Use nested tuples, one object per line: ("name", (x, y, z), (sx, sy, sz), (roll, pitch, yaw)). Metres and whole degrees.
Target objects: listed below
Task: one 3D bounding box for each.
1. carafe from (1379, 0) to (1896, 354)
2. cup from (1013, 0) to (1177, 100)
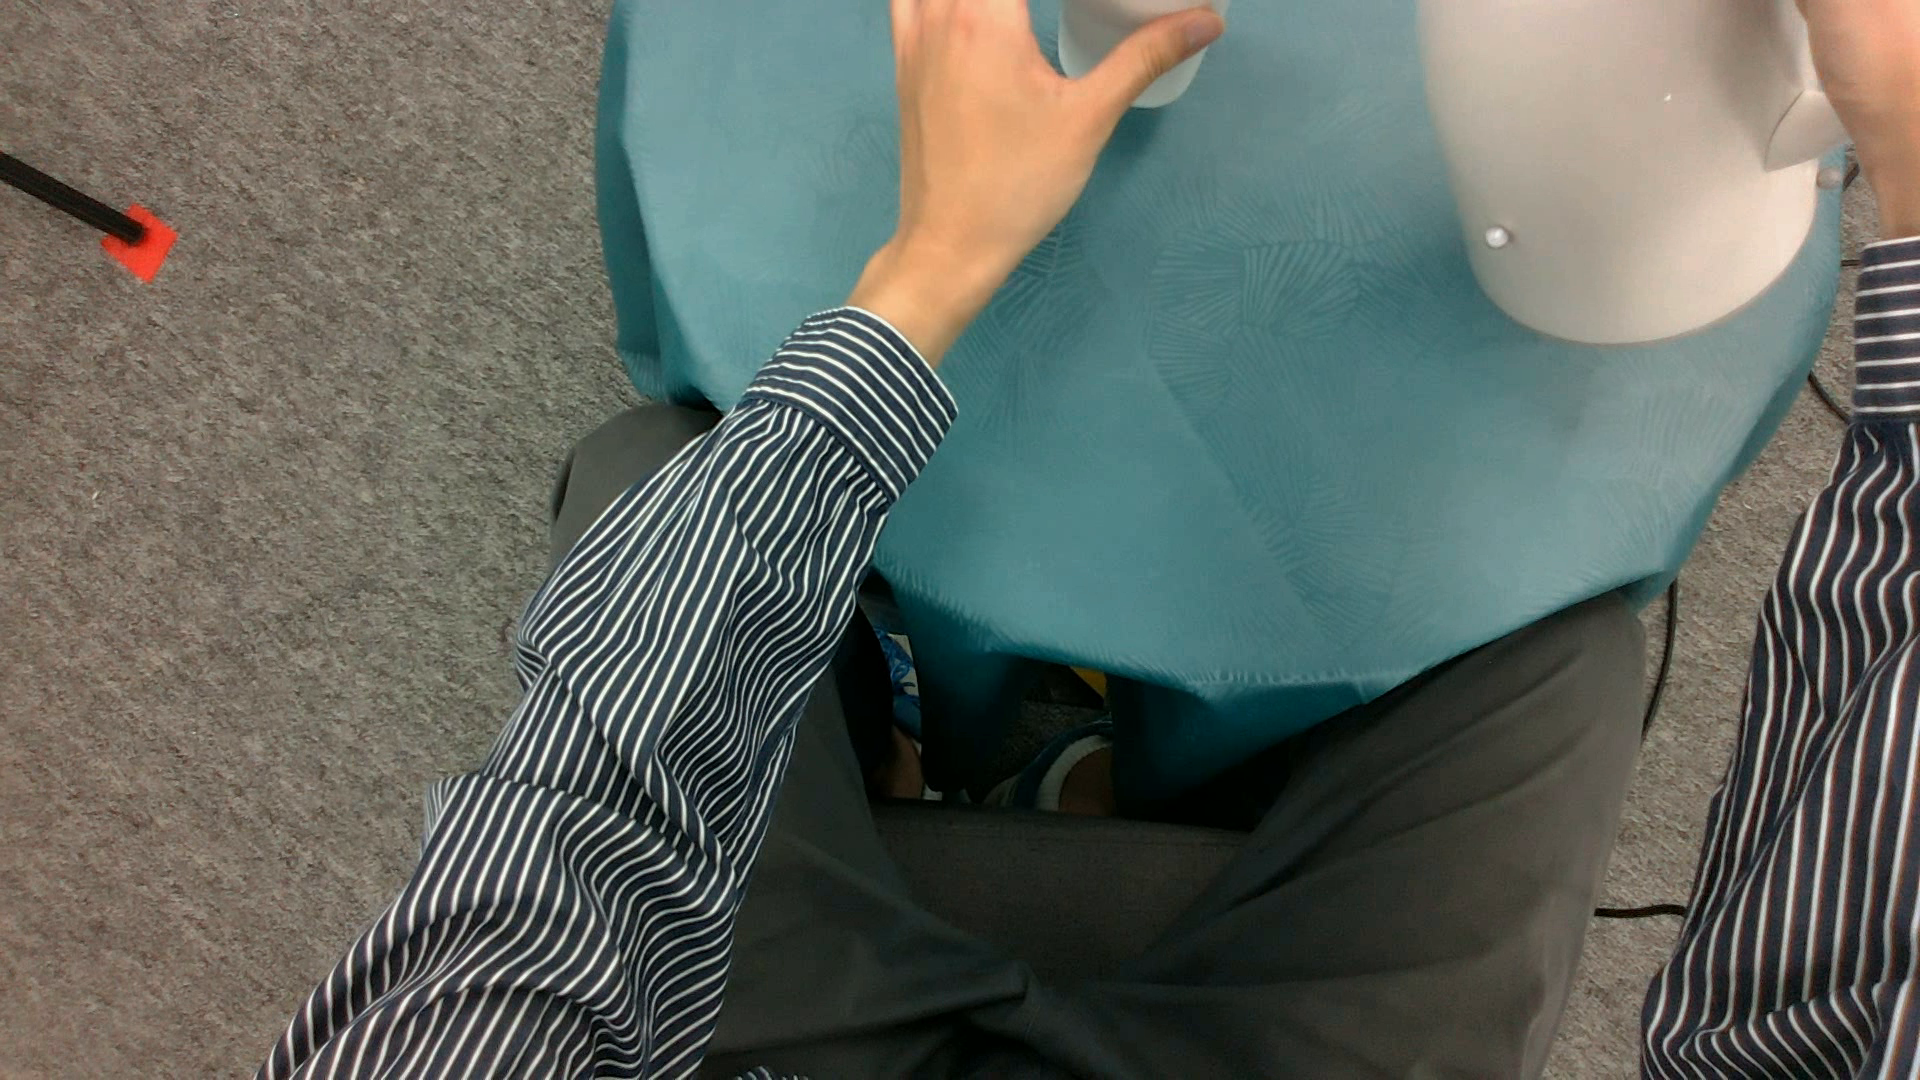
("carafe", (0.228, -0.182, 0.475), (0.167, 0.248, 0.133), (27, 80, 39))
("cup", (0.060, -0.248, 0.590), (0.081, 0.125, 0.082), (0, 85, 0))
